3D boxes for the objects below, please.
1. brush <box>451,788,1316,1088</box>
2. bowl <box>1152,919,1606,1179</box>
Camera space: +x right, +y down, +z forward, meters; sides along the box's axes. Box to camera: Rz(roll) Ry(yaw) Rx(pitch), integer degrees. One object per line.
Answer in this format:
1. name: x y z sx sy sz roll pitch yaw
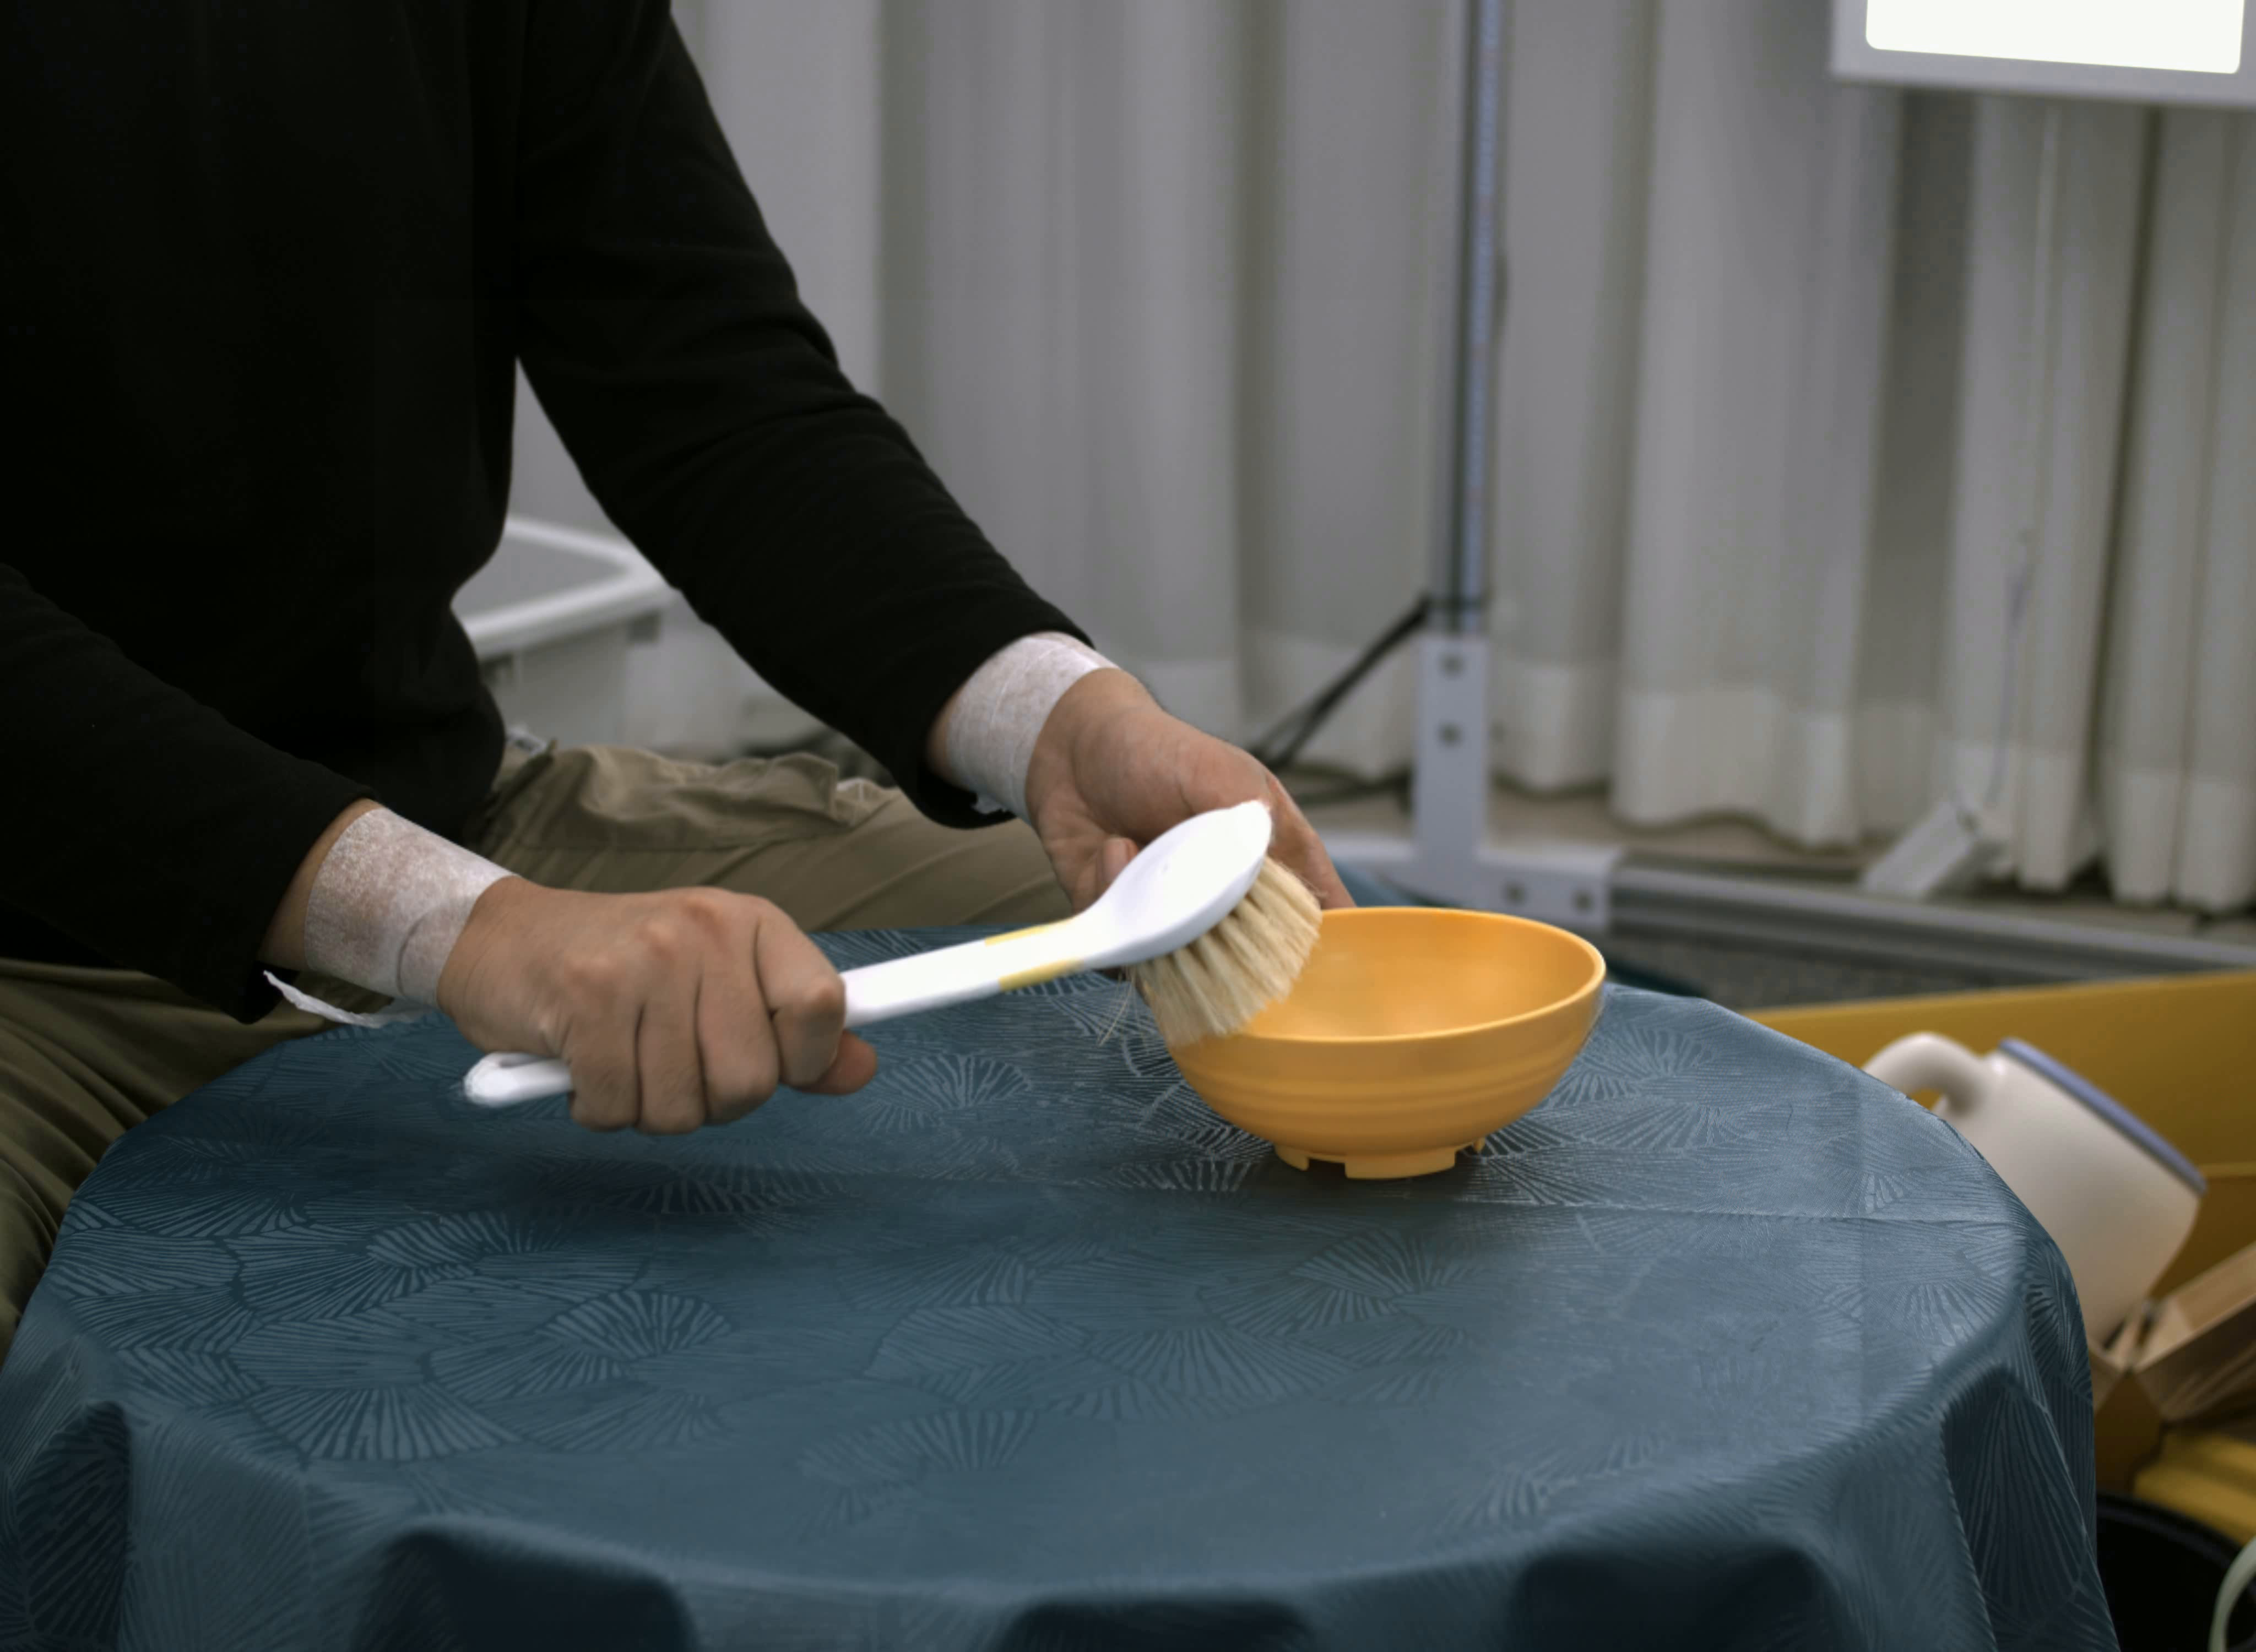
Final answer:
1. brush: -0.071 0.054 1.605 0.266 0.057 0.068 -18 19 -6
2. bowl: 0.077 0.073 1.650 0.145 0.060 0.144 -1 13 1
